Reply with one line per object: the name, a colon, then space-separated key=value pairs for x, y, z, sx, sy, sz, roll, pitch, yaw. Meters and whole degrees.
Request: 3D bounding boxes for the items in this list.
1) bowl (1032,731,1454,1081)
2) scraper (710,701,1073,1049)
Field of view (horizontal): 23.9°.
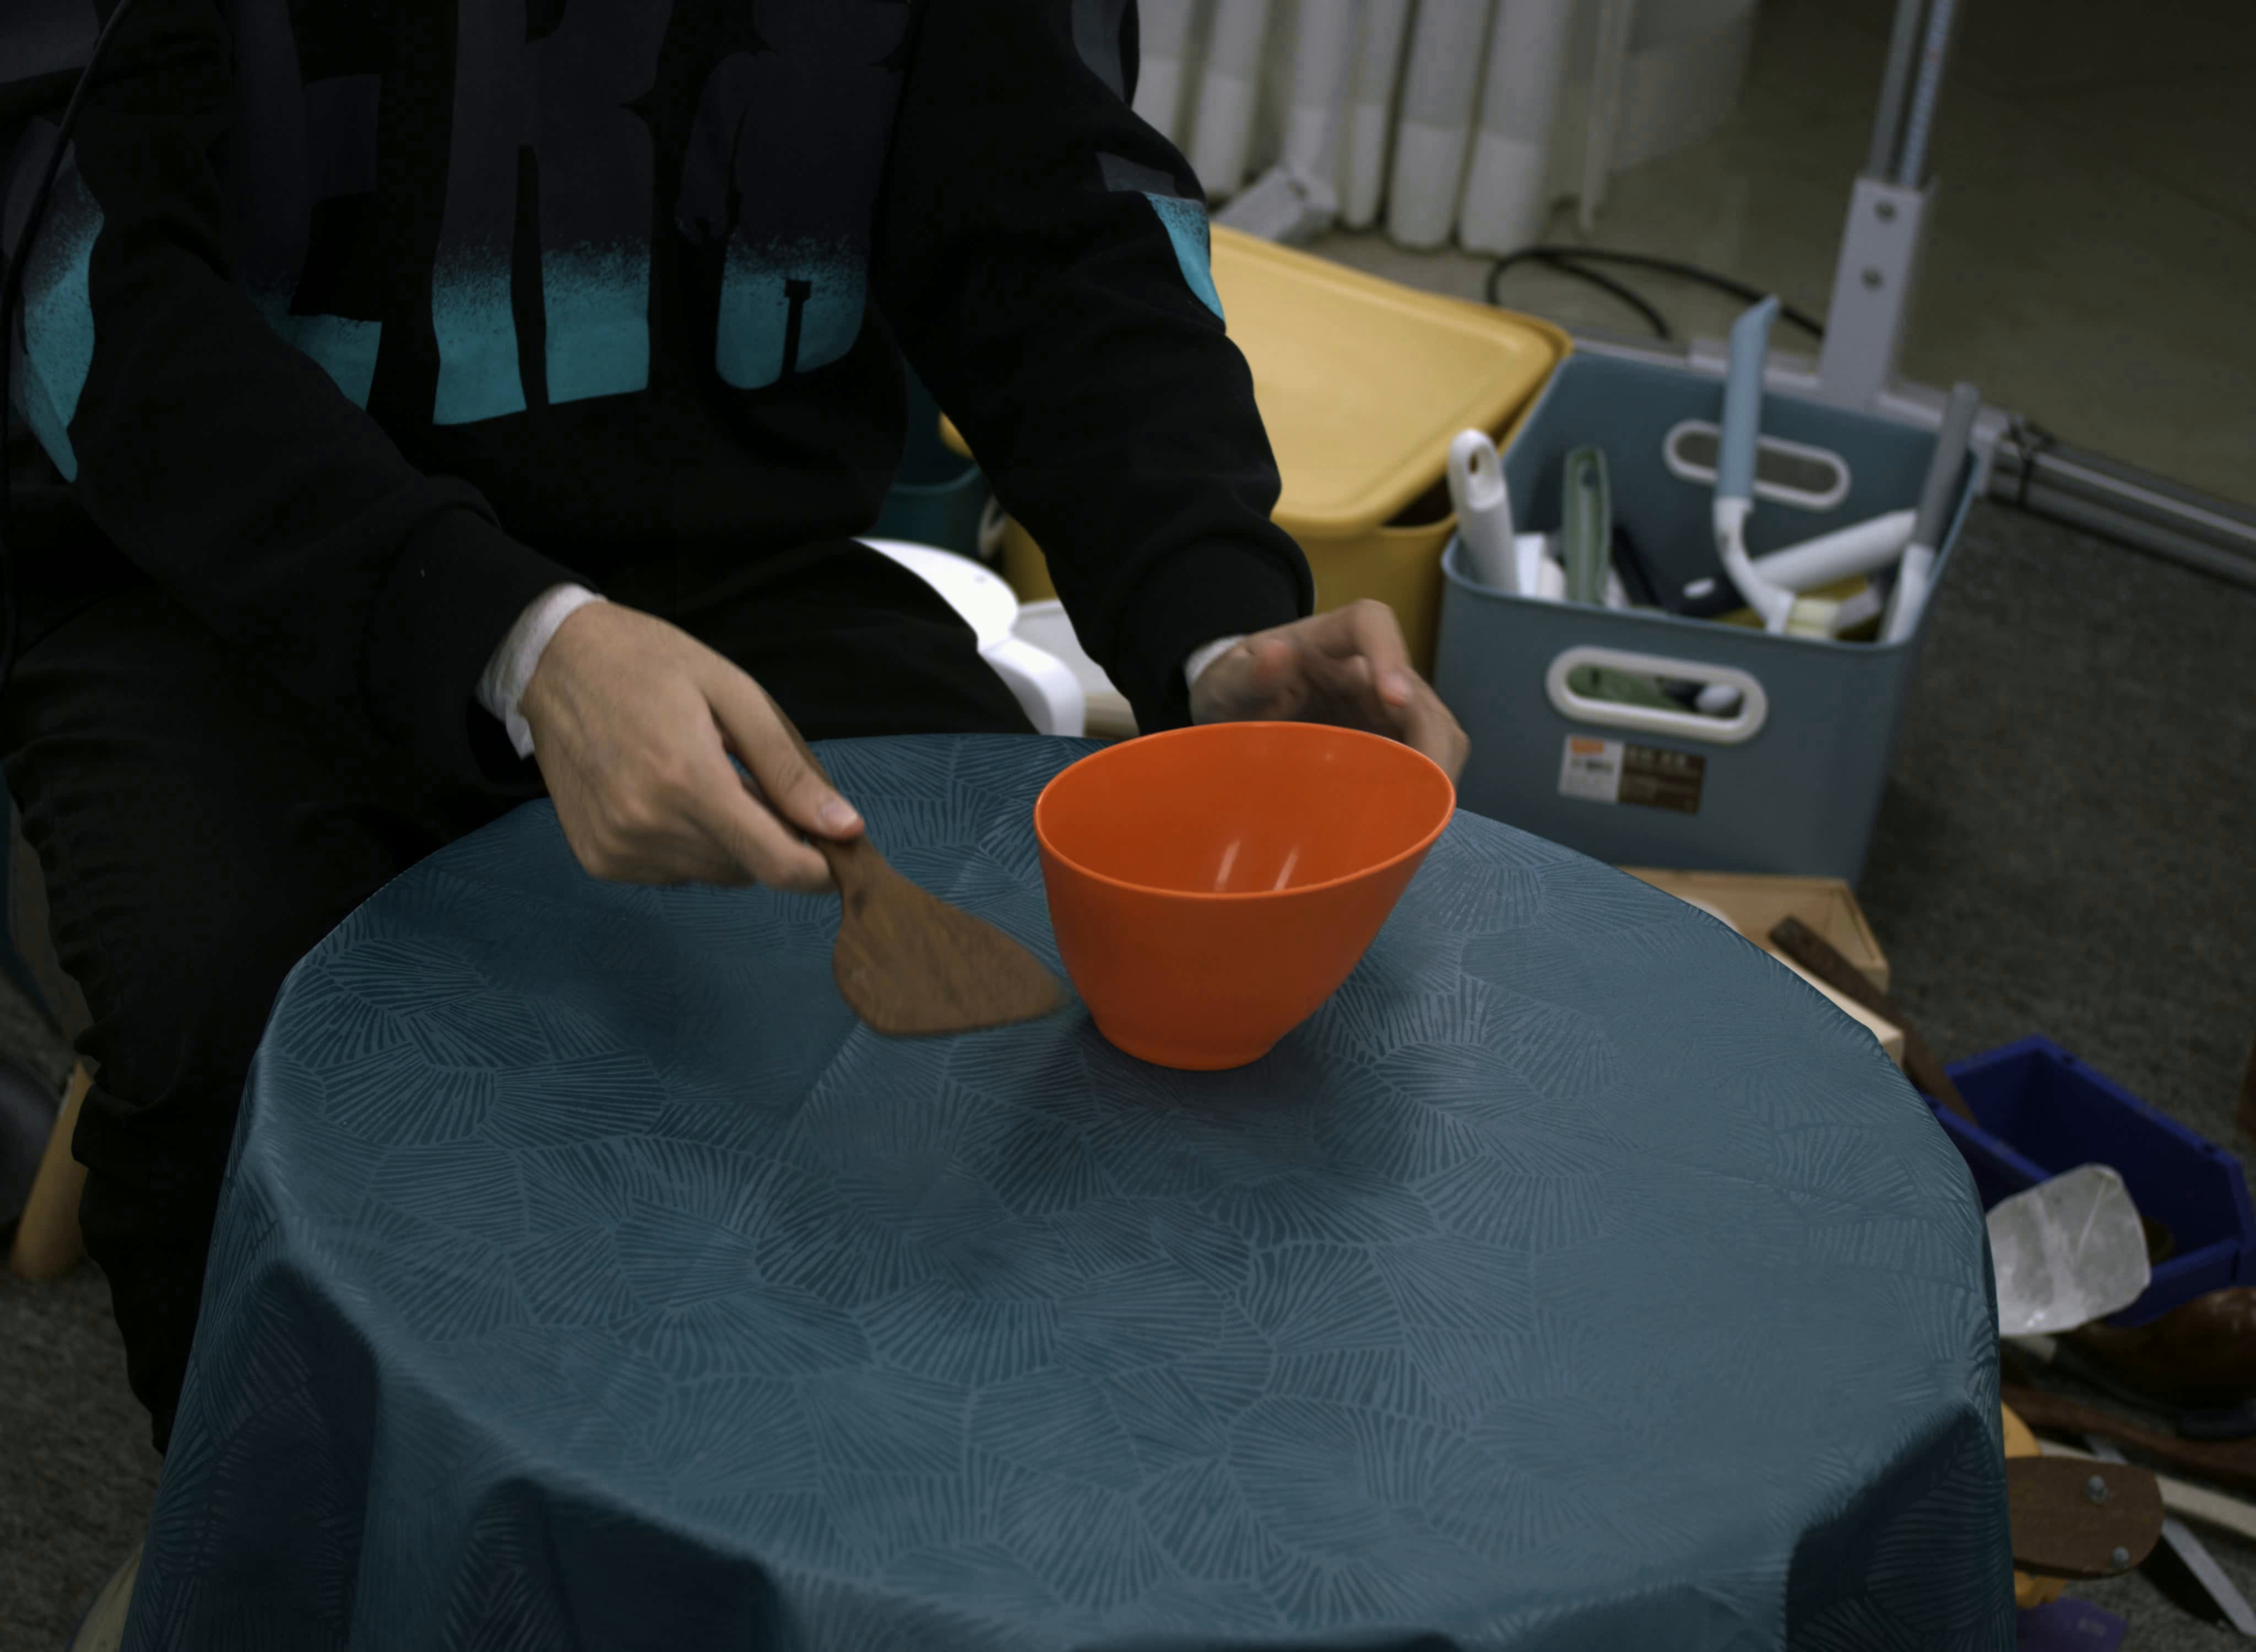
bowl: x=0.037 y=0.032 z=1.882 sx=0.147 sy=0.104 sz=0.149 roll=4 pitch=26 yaw=-2
scraper: x=-0.092 y=0.015 z=1.814 sx=0.075 sy=0.011 sz=0.213 roll=-8 pitch=36 yaw=-26
